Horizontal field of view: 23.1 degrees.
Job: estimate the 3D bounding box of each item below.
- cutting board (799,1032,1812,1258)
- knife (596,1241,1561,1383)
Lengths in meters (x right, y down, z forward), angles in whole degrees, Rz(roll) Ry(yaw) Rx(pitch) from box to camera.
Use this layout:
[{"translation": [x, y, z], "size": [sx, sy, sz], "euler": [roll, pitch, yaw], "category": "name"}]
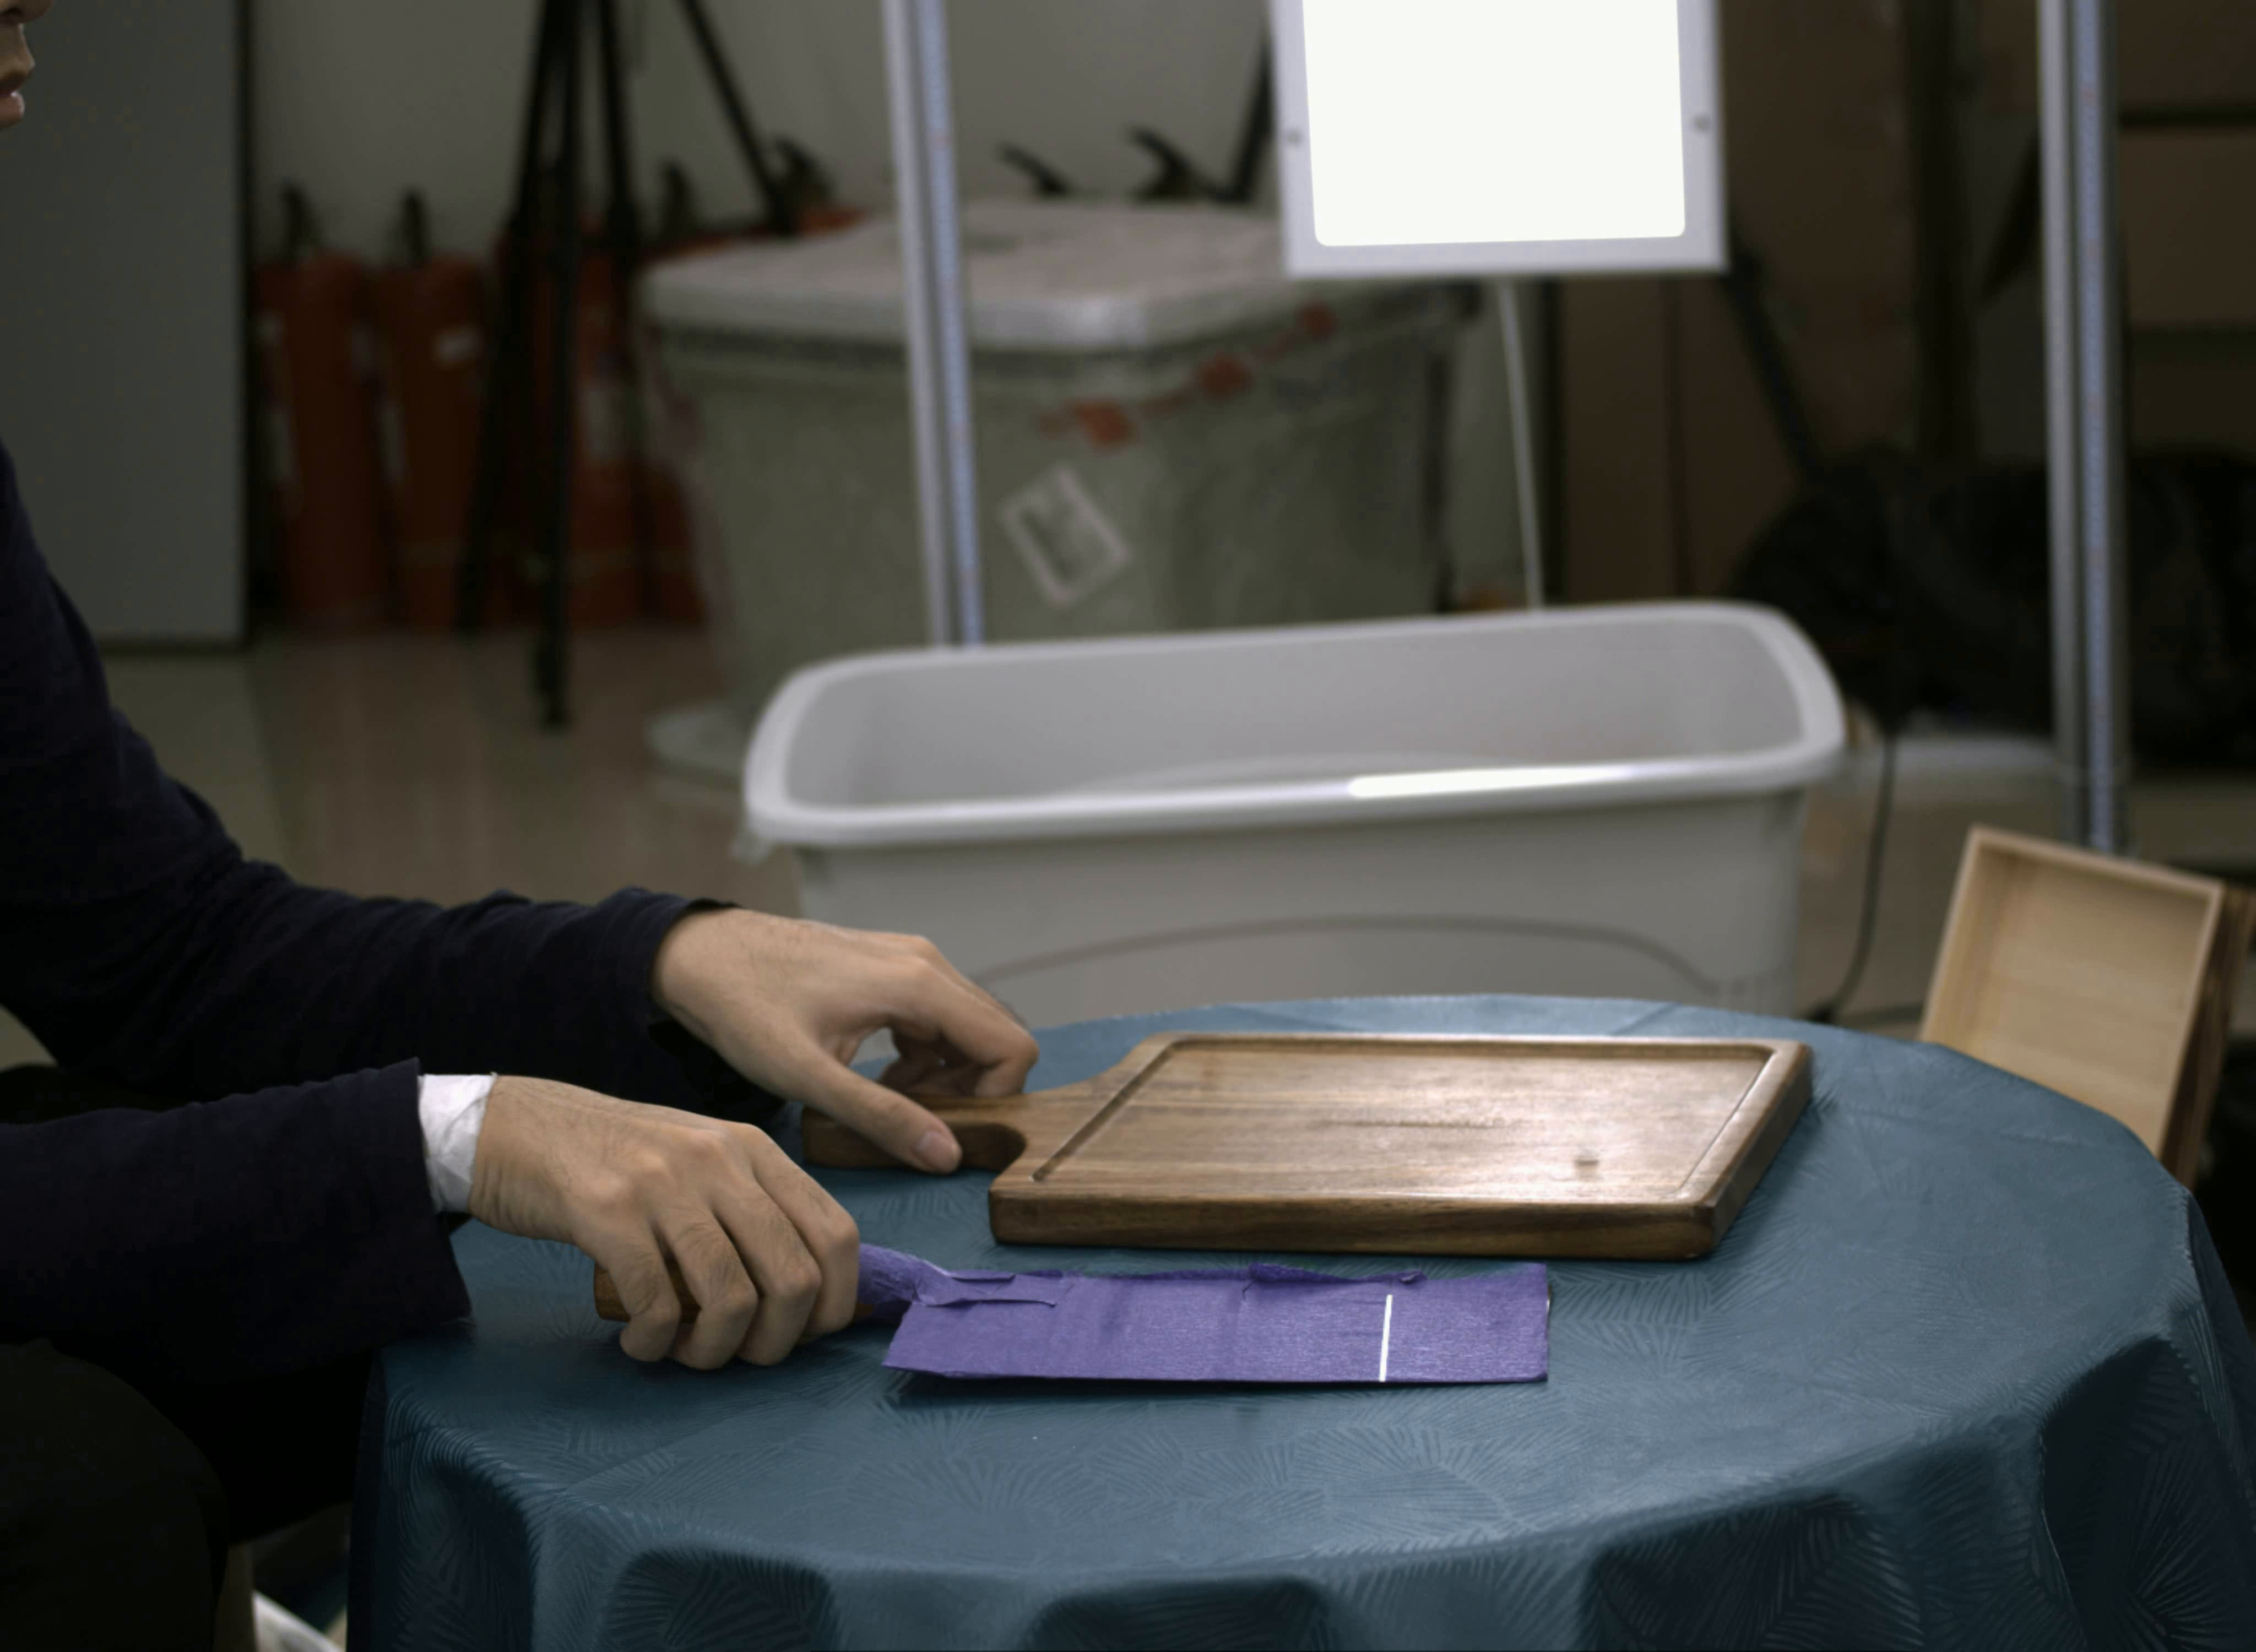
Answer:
[{"translation": [0.052, 0.108, 1.918], "size": [0.357, 0.023, 0.197], "euler": [-1, 14, 20], "category": "cutting board"}, {"translation": [-0.020, 0.153, 1.745], "size": [0.317, 0.032, 0.103], "euler": [-2, 14, 9], "category": "knife"}]
